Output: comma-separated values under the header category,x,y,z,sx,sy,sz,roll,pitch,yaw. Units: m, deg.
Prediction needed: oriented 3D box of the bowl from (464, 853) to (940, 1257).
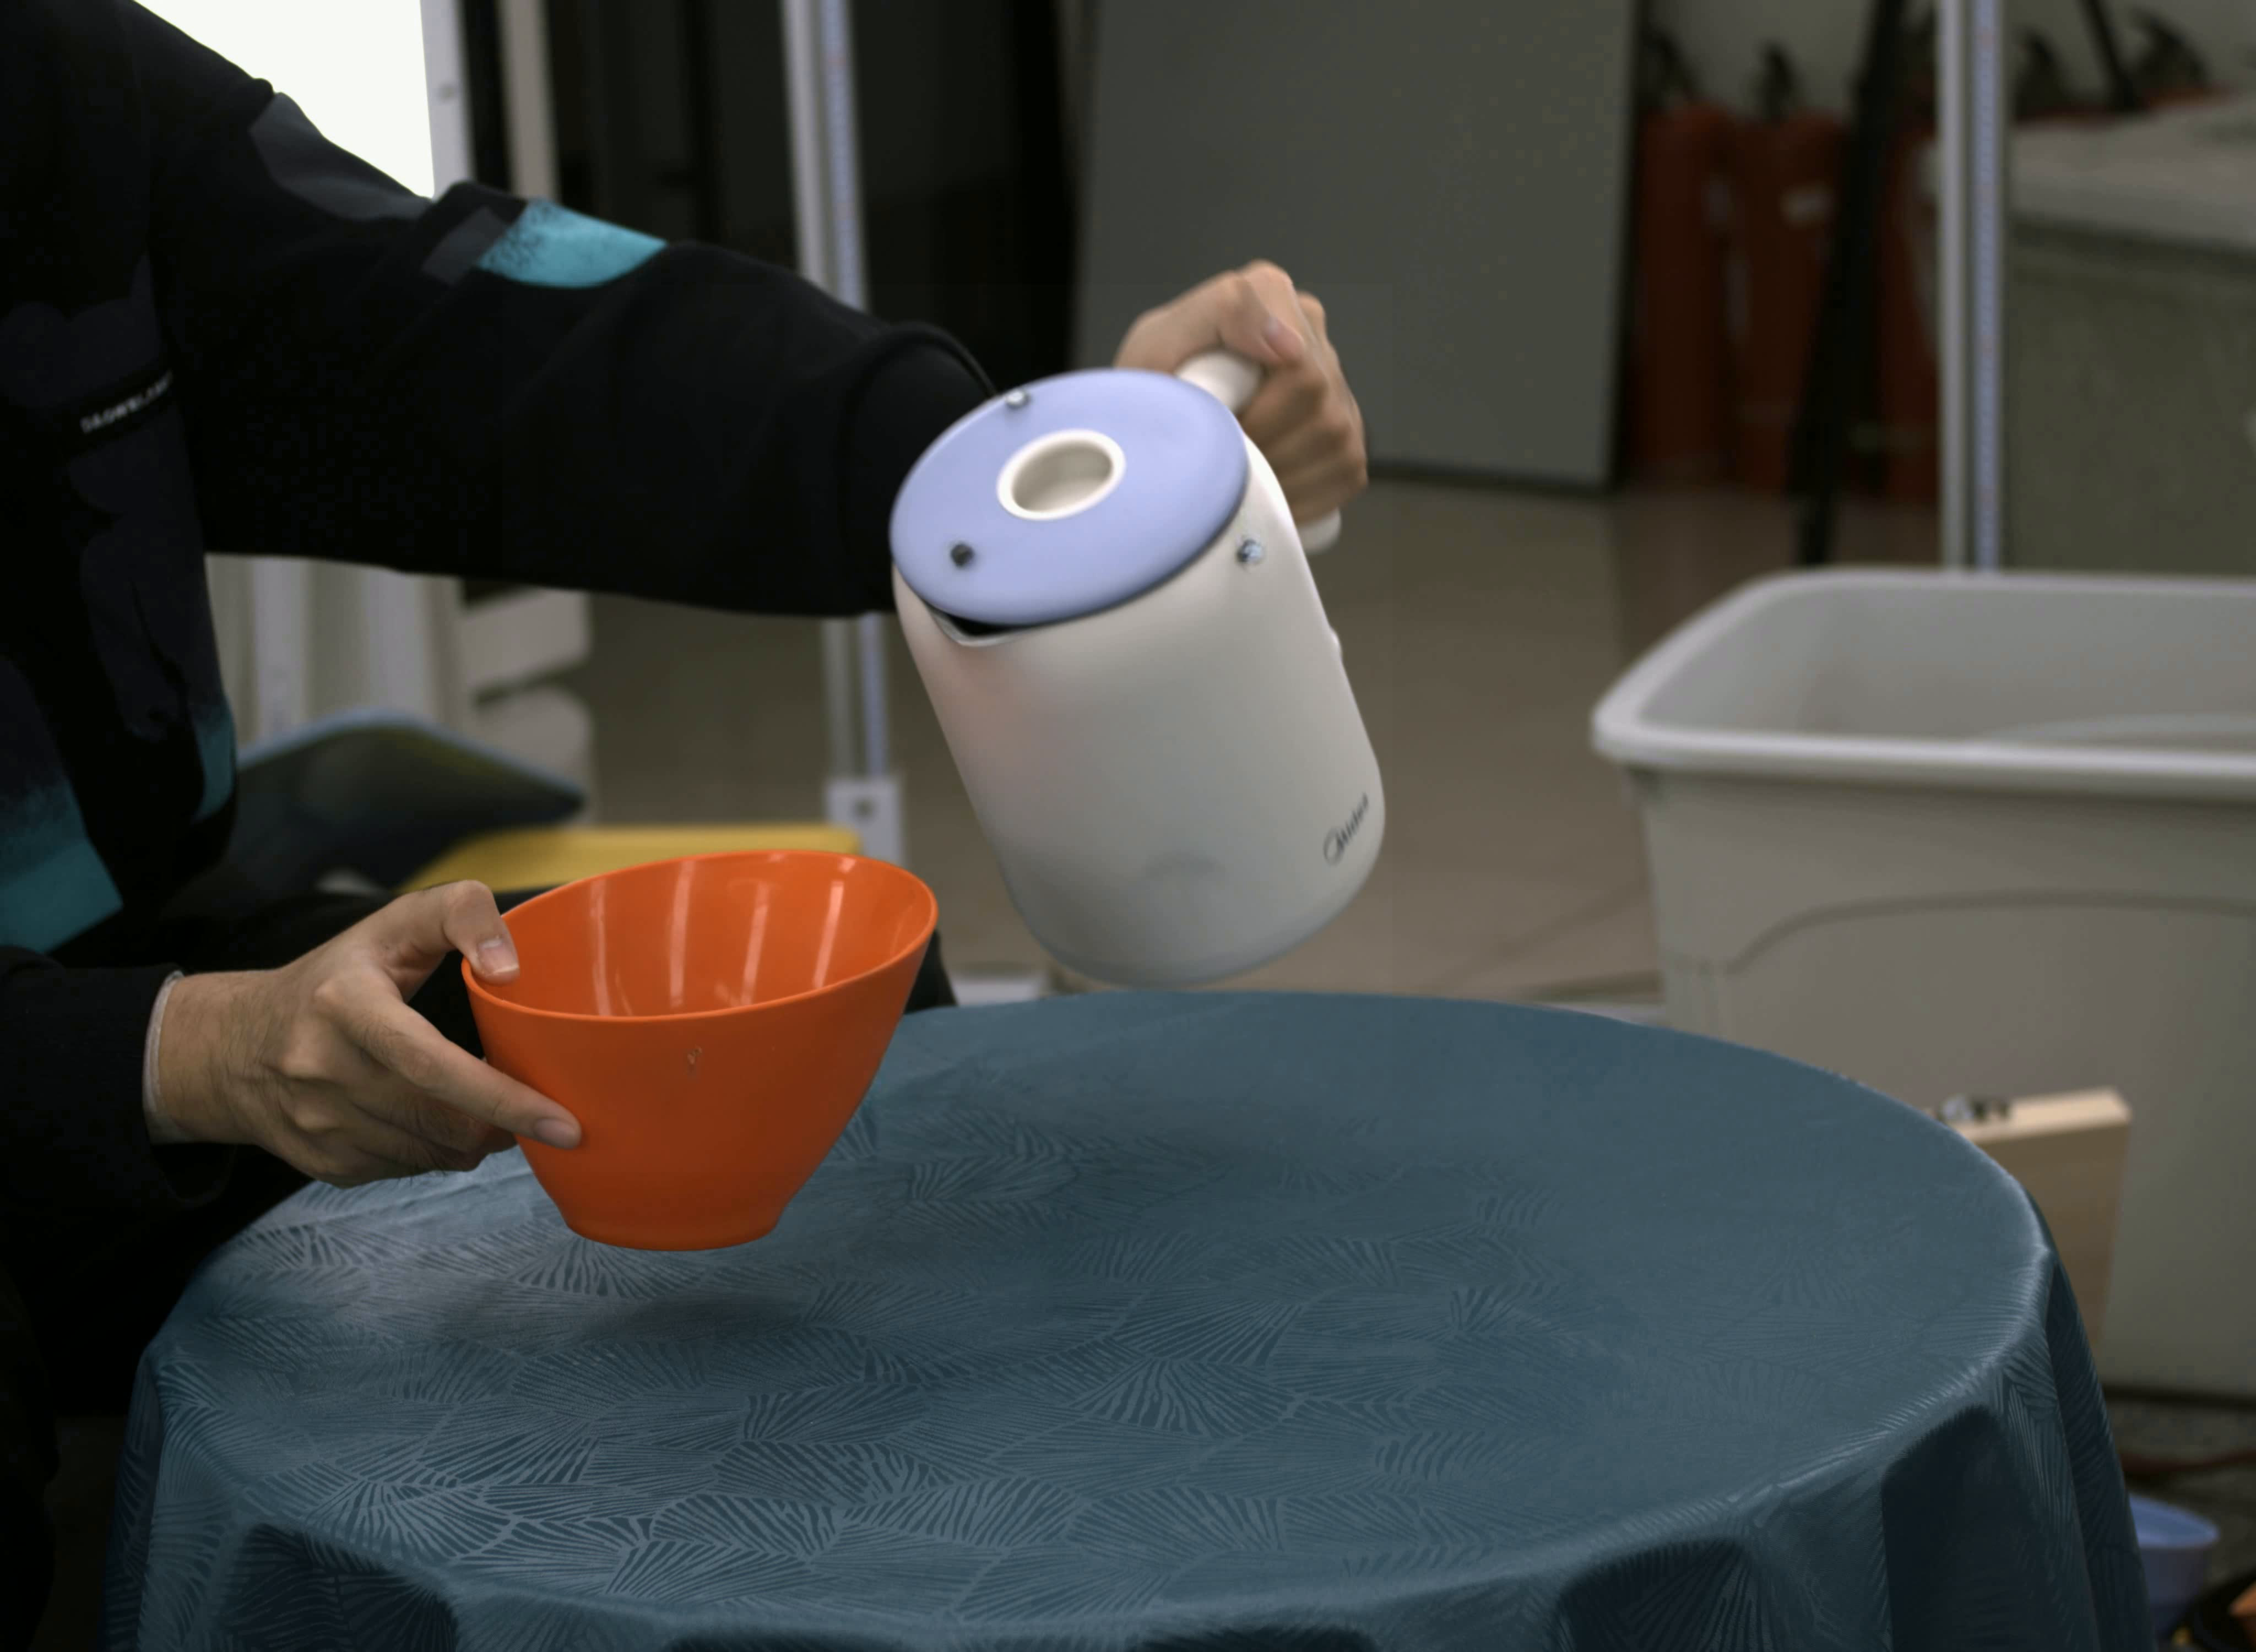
category,x,y,z,sx,sy,sz,roll,pitch,yaw
bowl,-0.132,0.073,1.673,0.146,0.106,0.148,2,12,-1

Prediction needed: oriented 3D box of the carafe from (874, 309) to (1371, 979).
category,x,y,z,sx,sy,sz,roll,pitch,yaw
carafe,0.009,-0.070,1.762,0.133,0.182,0.190,9,47,30
